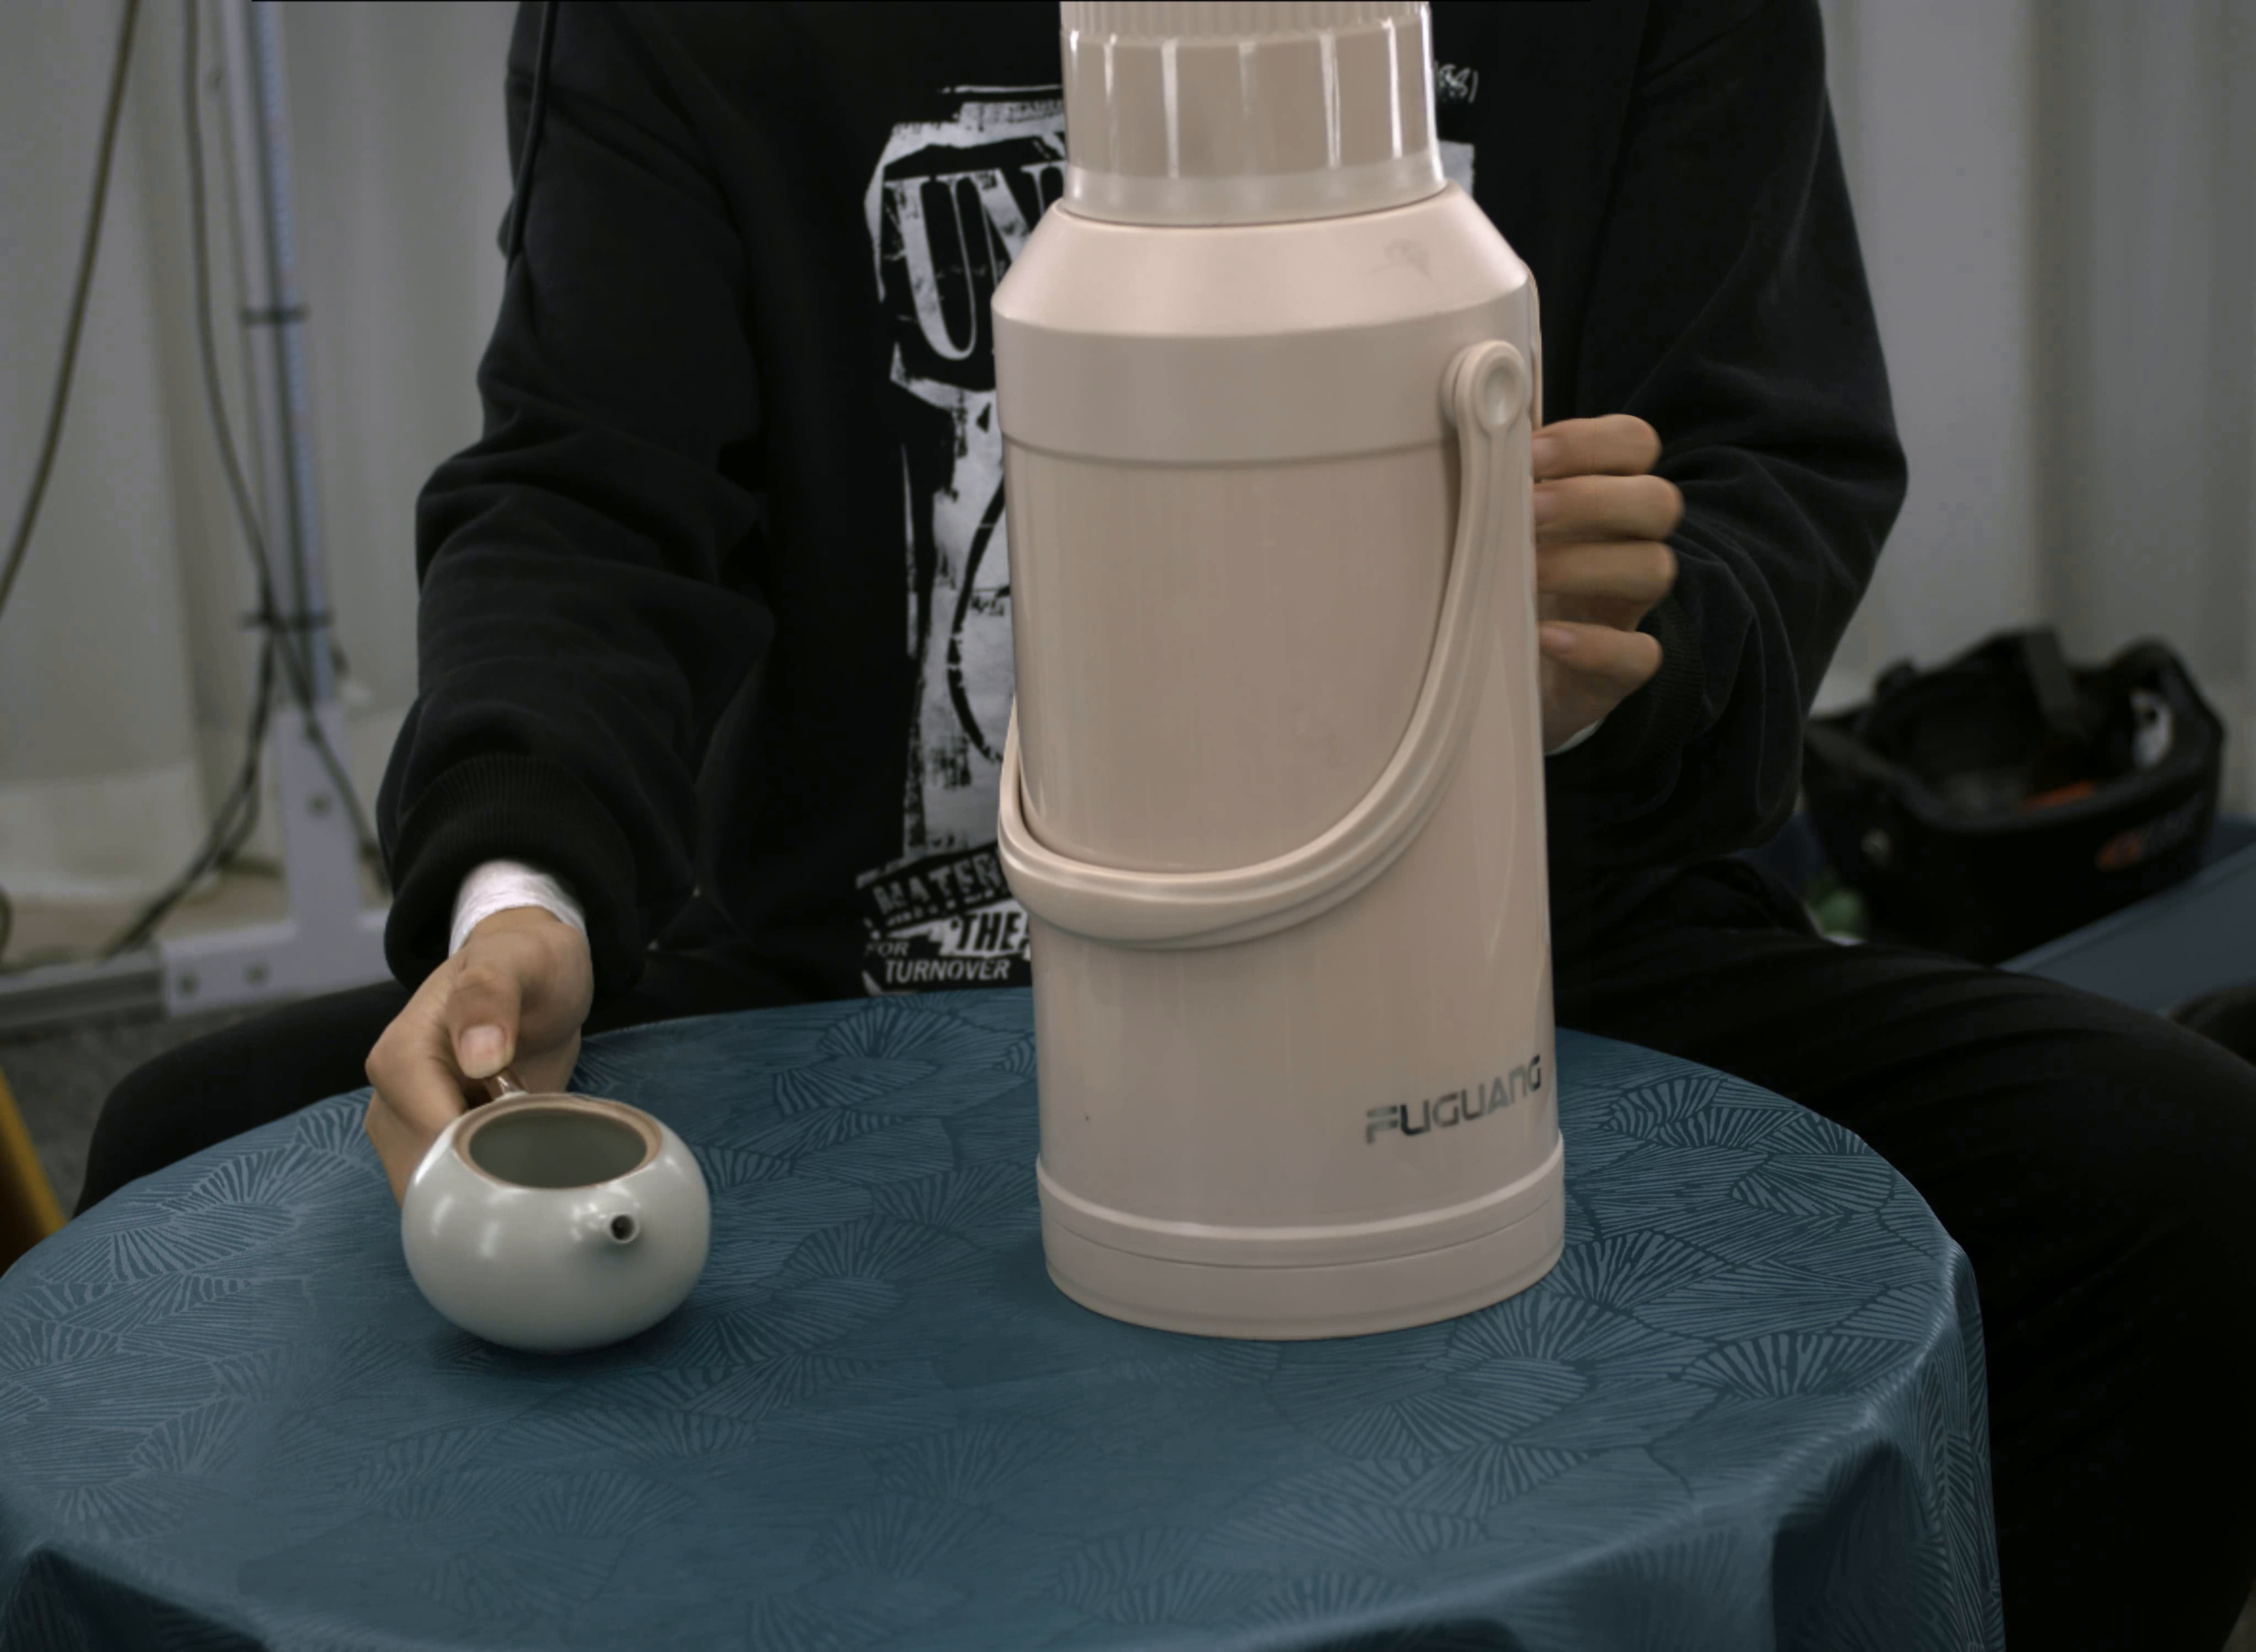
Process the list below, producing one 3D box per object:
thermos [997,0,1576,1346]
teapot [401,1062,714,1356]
[{"bbox_3d":[0.055,-0.065,1.615,0.176,0.405,0.207,7,17,41],"label":"thermos"},{"bbox_3d":[-0.172,0.113,1.616,0.091,0.059,0.129,-12,28,-25],"label":"teapot"}]
